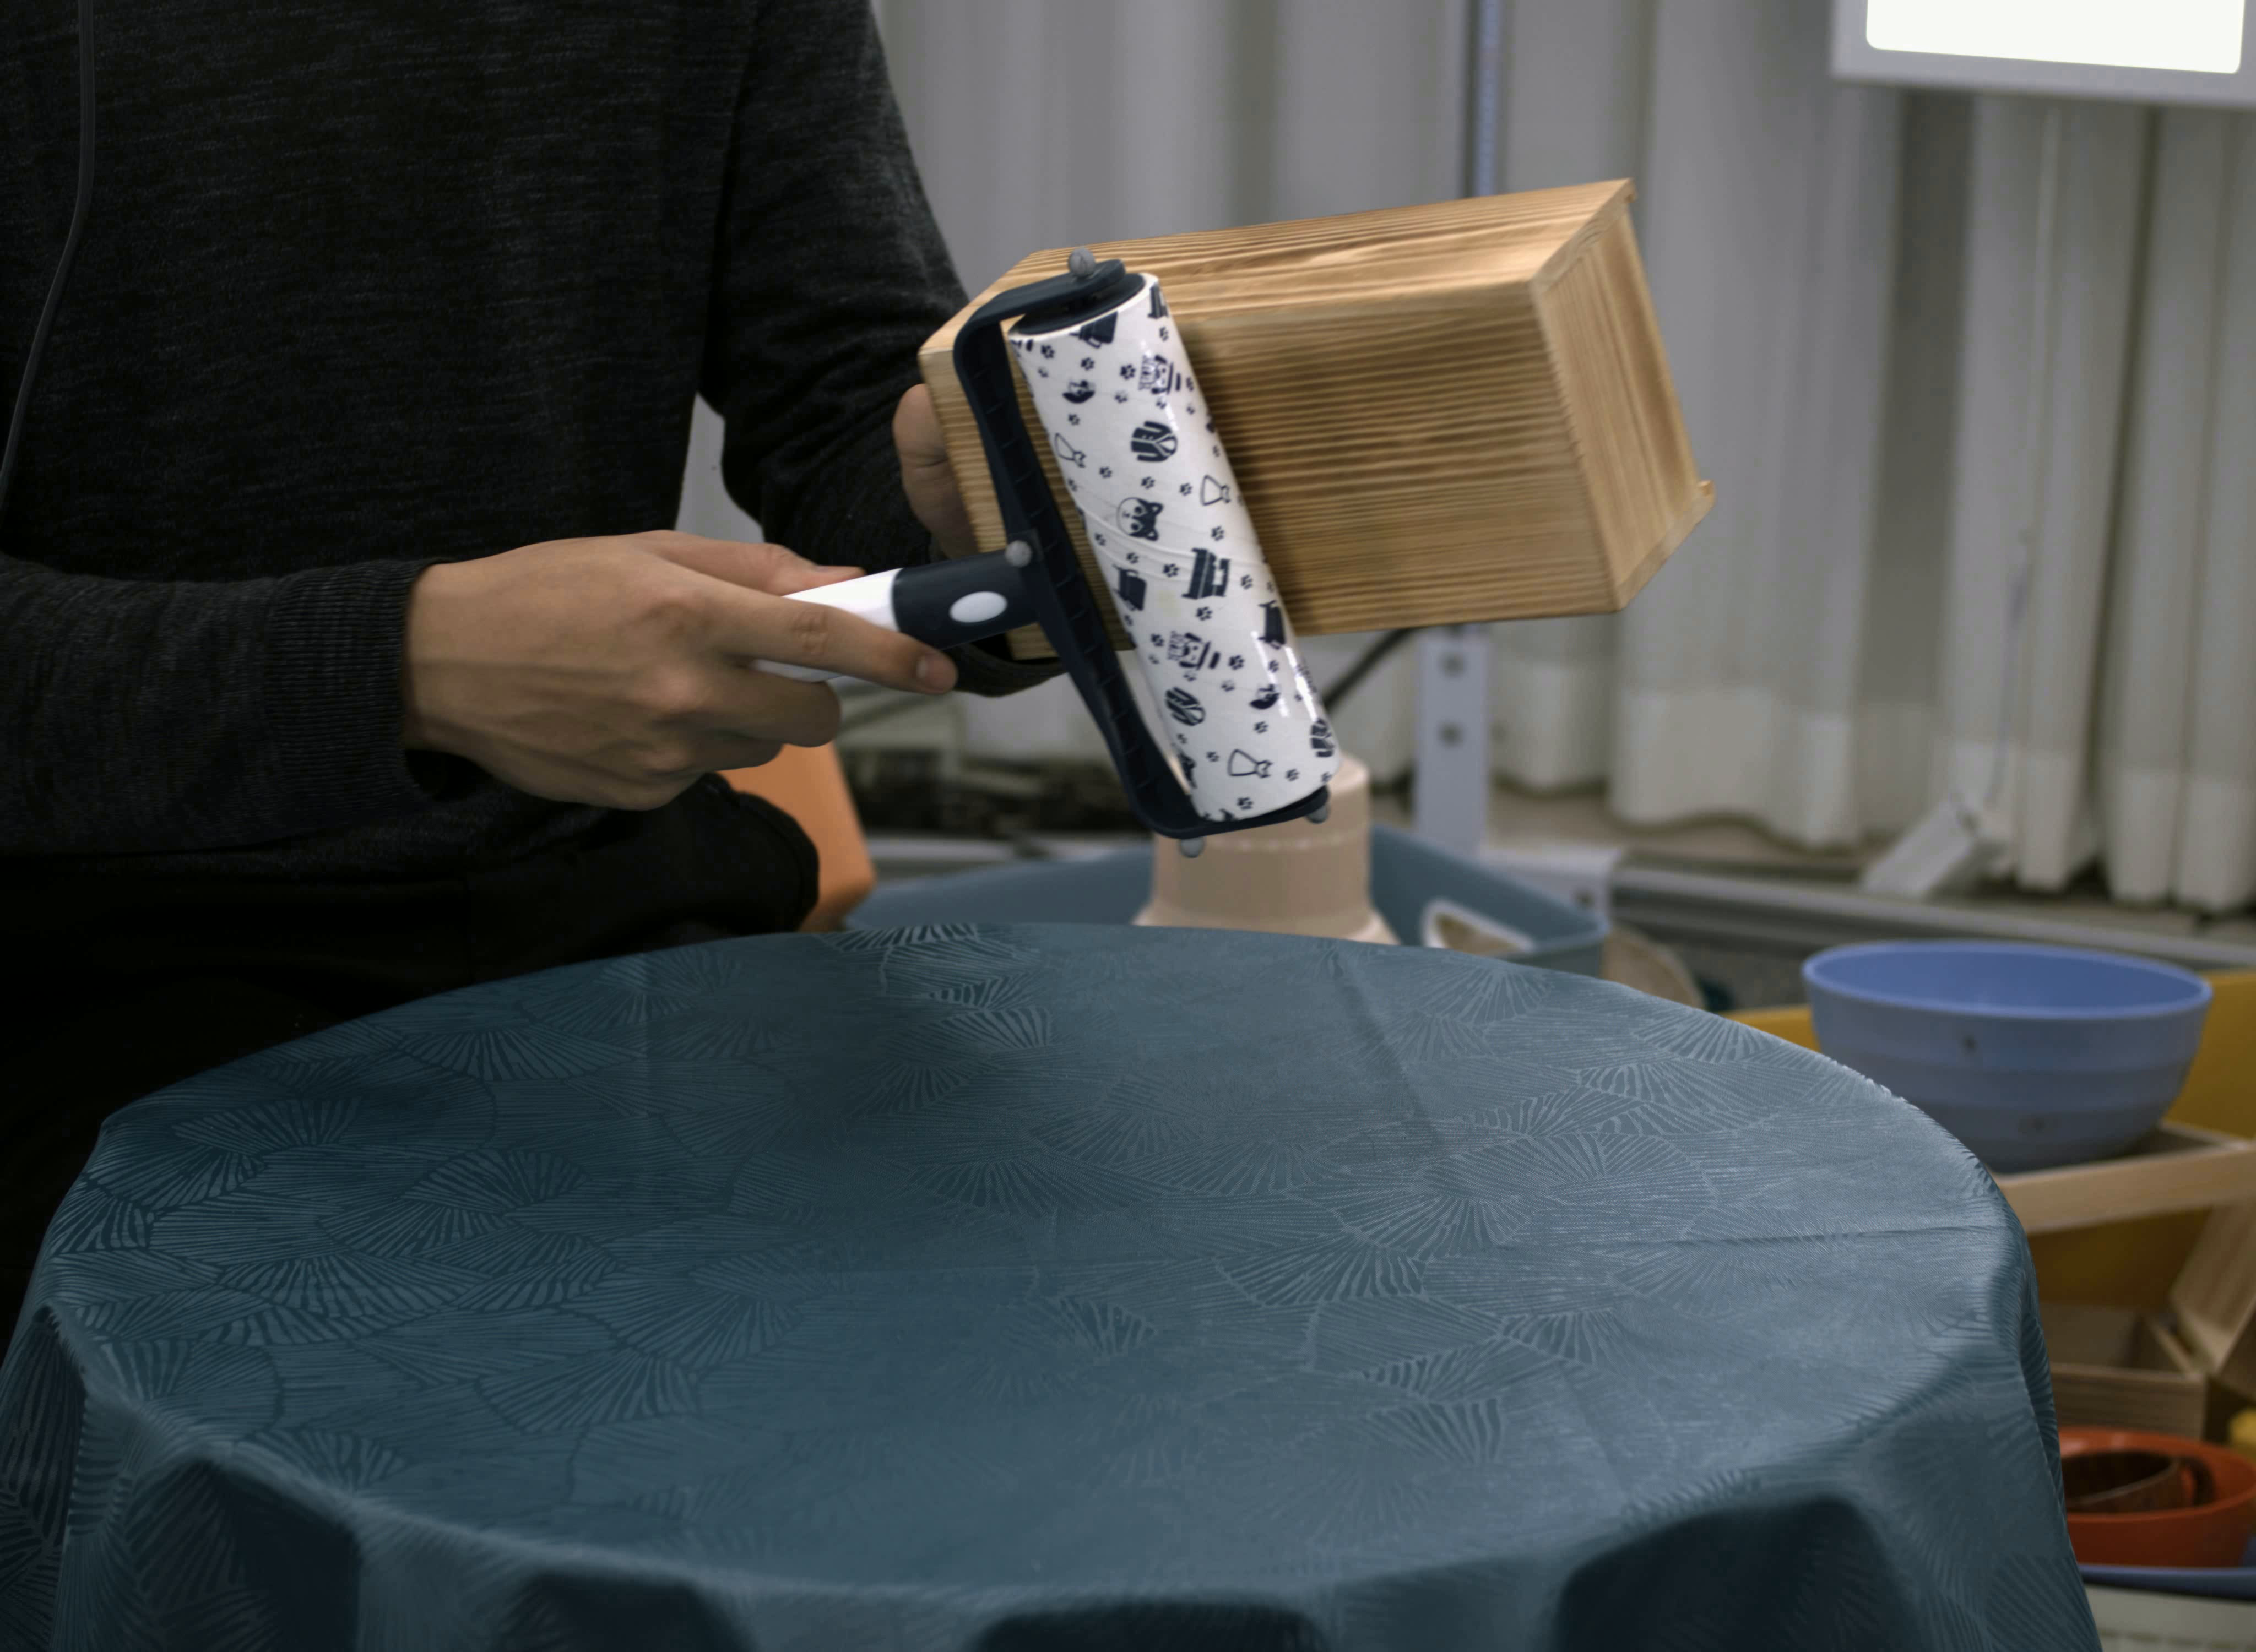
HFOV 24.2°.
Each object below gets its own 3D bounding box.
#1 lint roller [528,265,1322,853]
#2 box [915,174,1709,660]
[{"bbox_3d":[-0.077,-0.057,1.590,0.245,0.178,0.050,-14,20,23],"label":"lint roller"},{"bbox_3d":[0.054,-0.121,1.583,0.209,0.109,0.080,-3,27,32],"label":"box"}]
